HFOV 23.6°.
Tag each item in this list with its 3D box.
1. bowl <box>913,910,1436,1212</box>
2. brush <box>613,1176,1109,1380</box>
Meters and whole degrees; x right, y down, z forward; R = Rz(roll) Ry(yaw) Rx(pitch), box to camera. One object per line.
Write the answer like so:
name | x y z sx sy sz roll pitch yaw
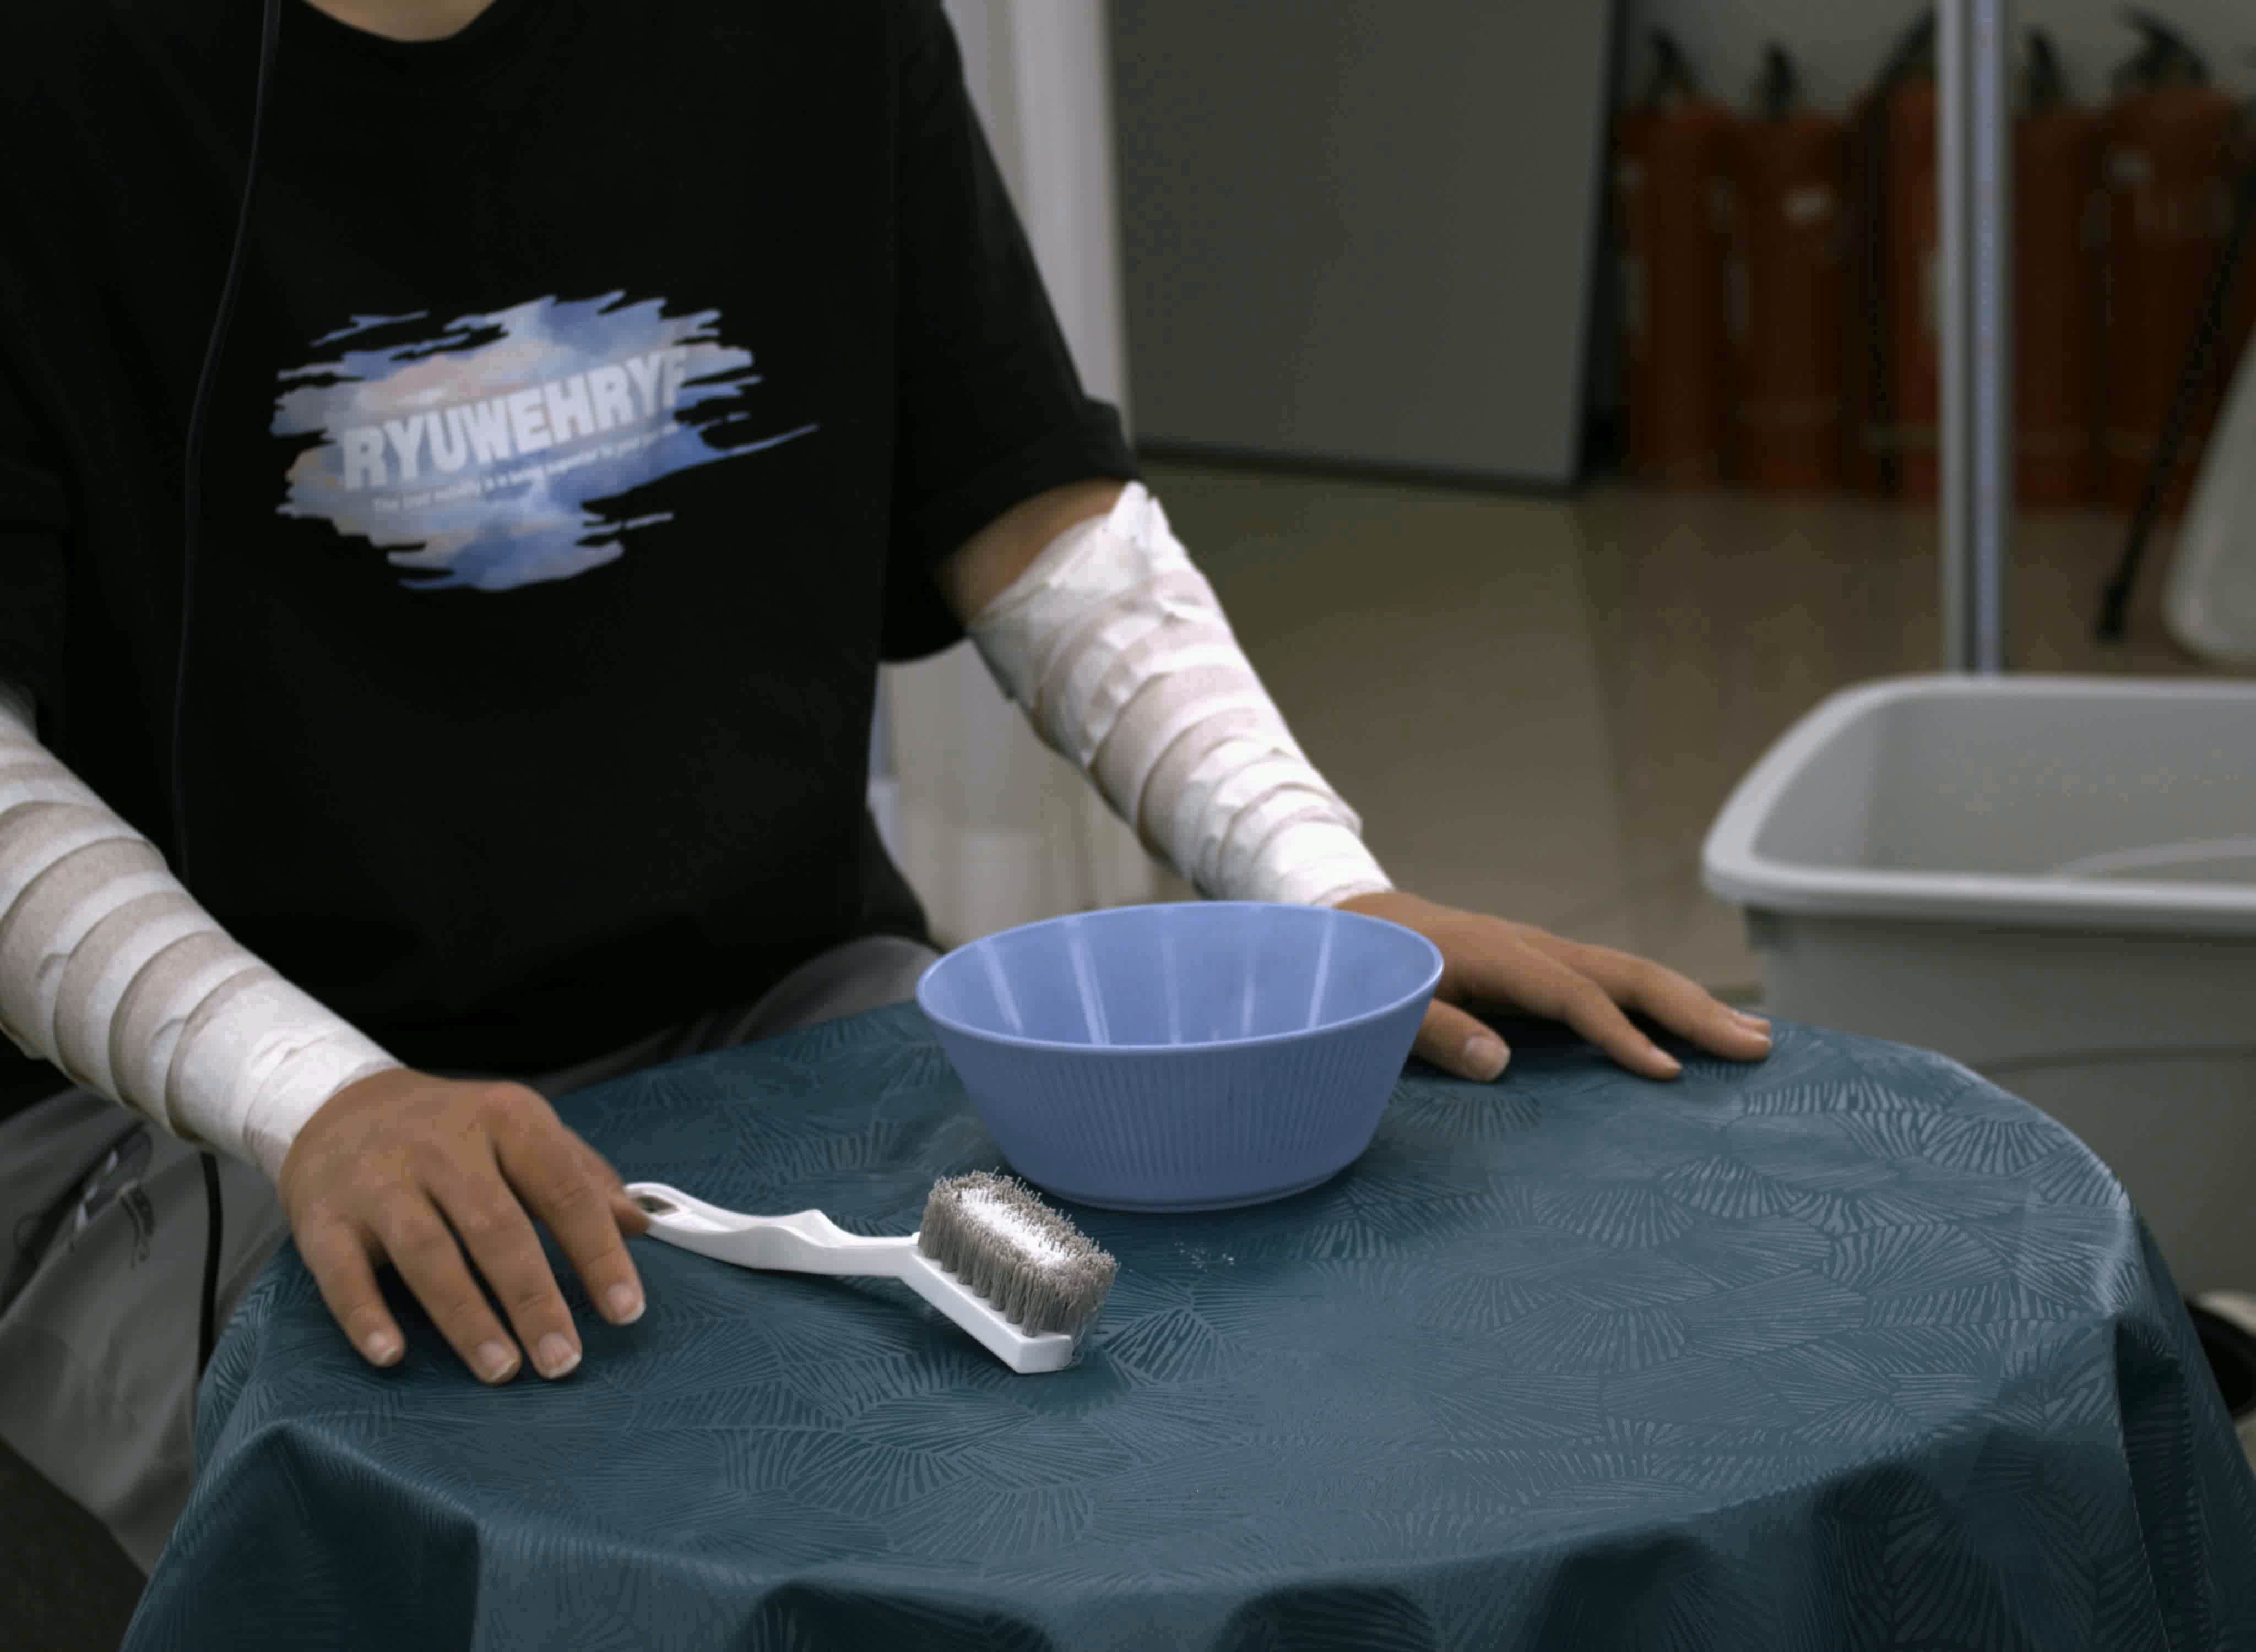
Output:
bowl | 0.017 0.080 1.789 0.174 0.071 0.176 -4 13 0
brush | -0.090 0.122 1.689 0.033 0.051 0.246 -12 16 -36
